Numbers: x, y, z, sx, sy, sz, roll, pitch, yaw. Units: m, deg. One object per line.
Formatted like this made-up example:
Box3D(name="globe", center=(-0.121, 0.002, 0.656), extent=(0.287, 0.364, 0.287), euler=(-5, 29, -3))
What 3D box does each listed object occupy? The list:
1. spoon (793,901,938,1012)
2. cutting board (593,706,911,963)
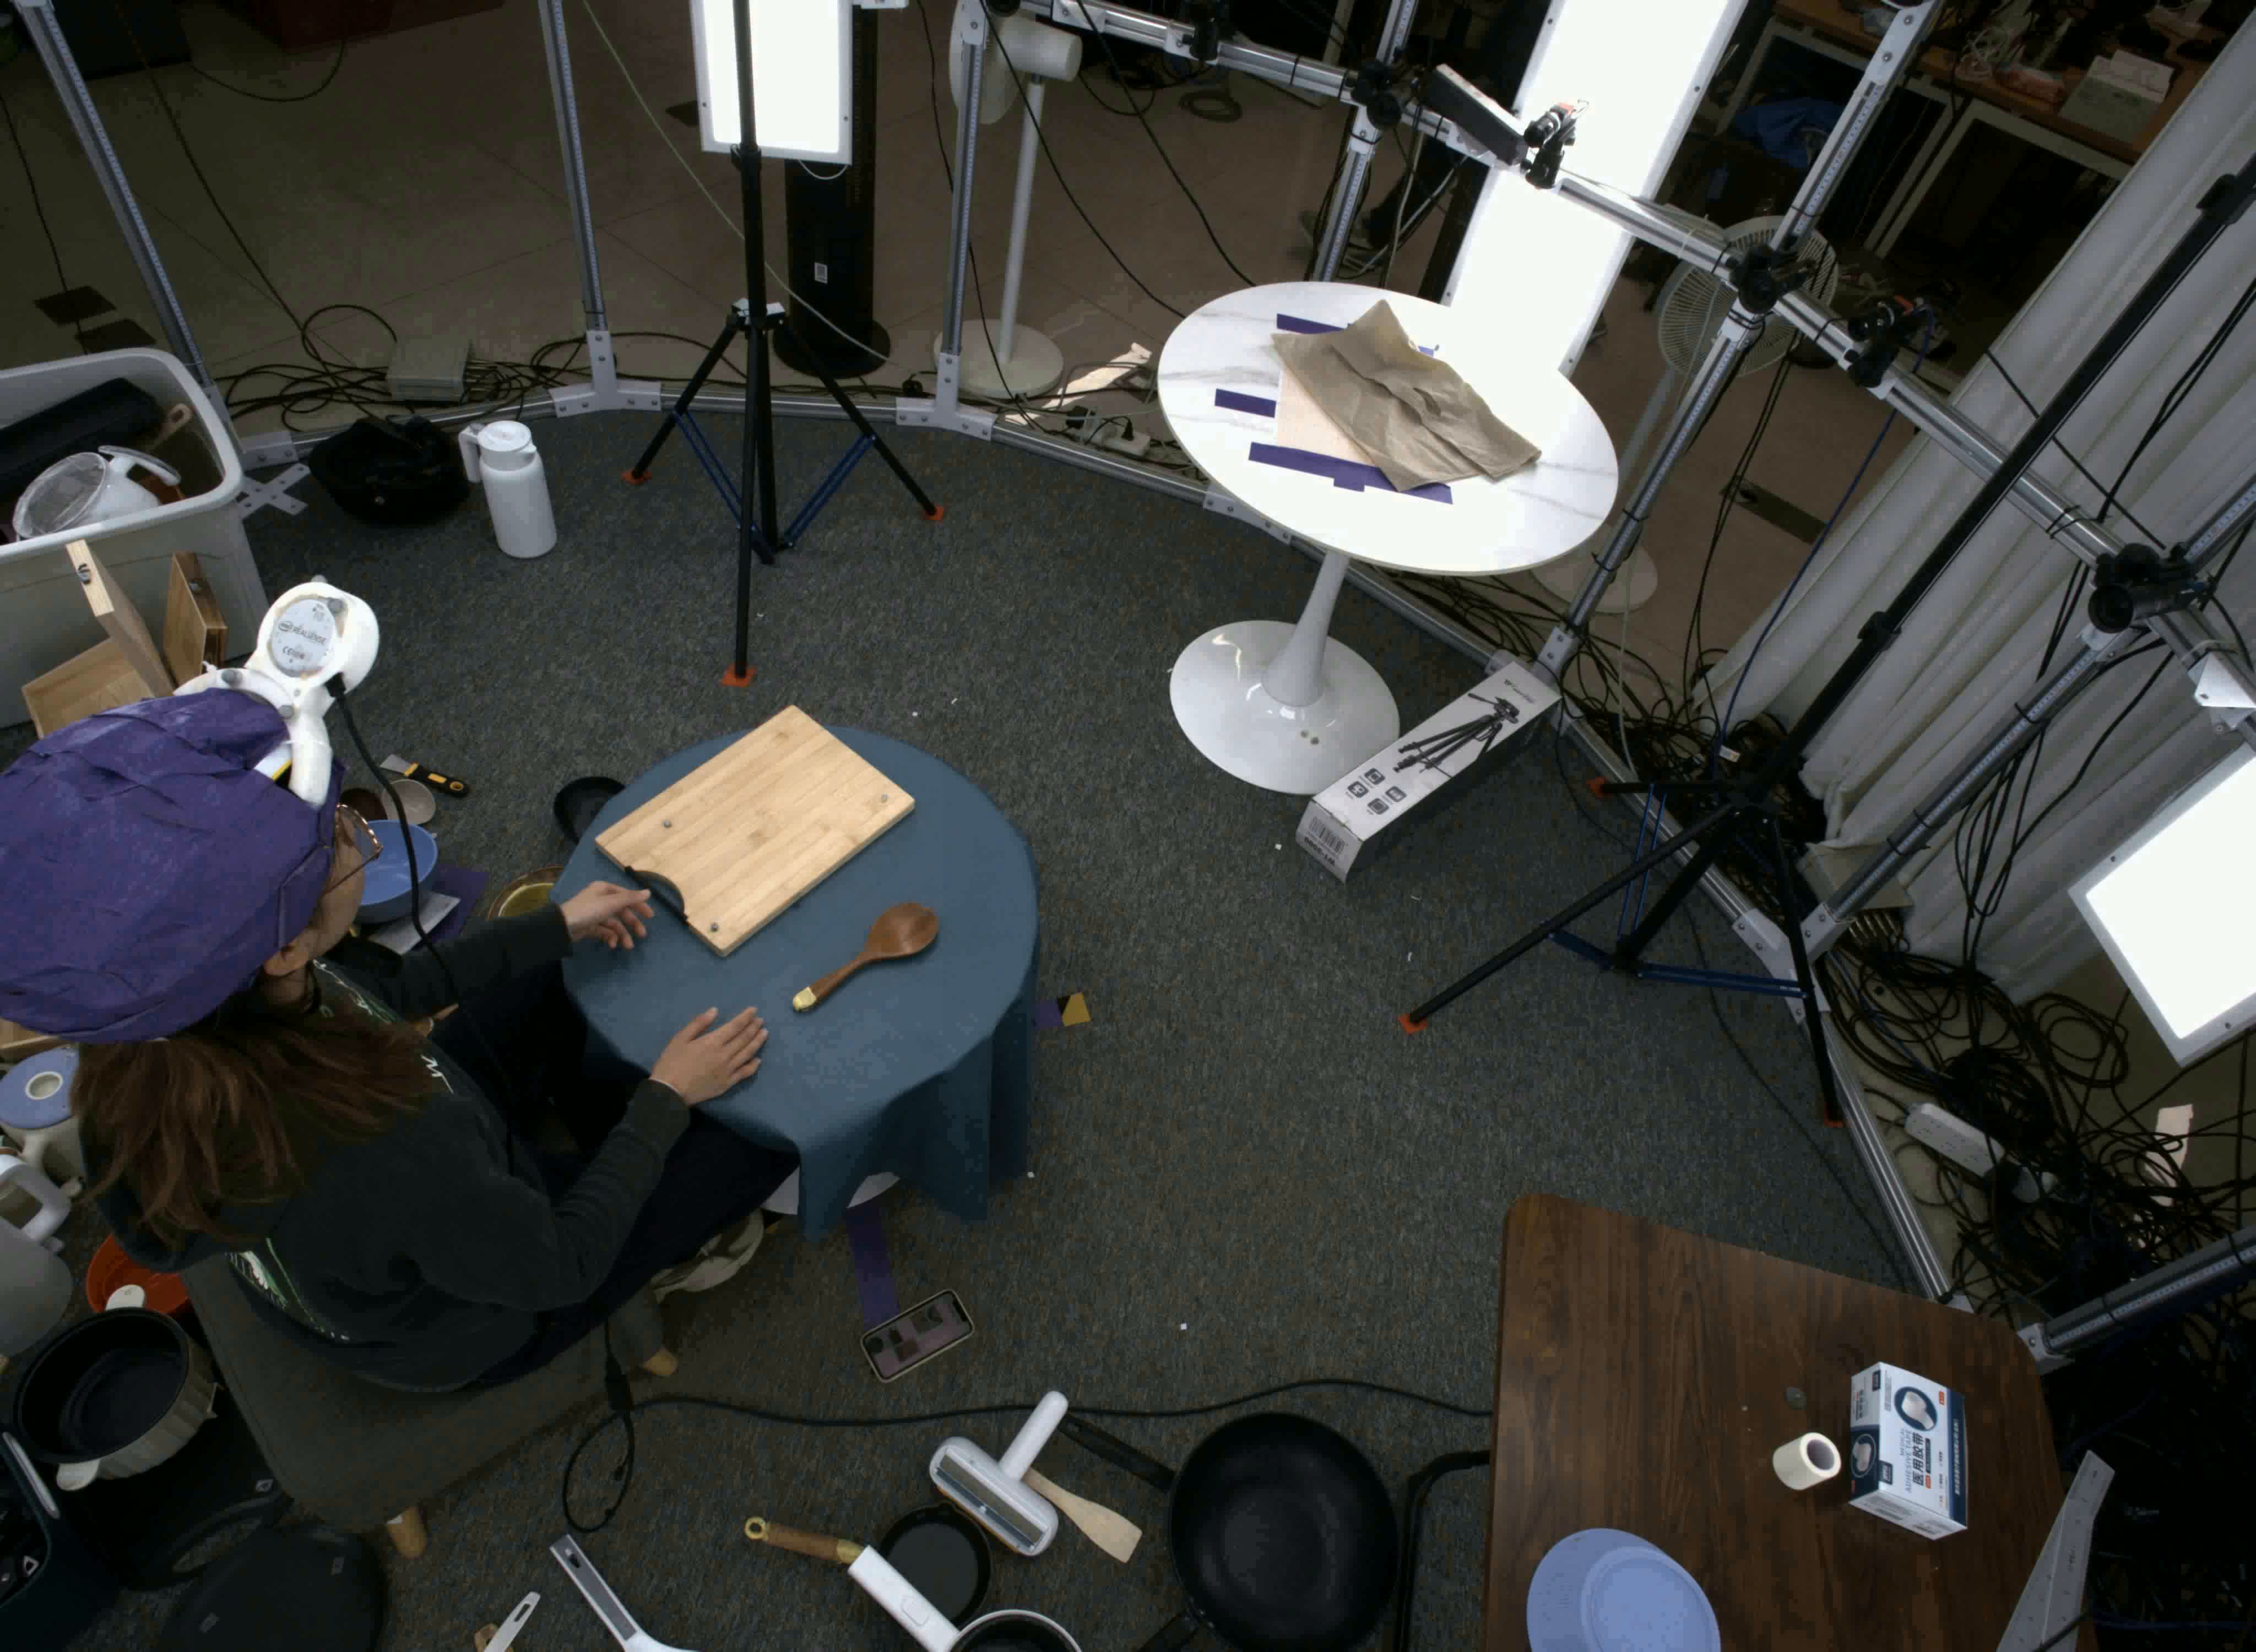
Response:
Box3D(name="spoon", center=(-0.328, 0.162, 1.622), extent=(0.074, 0.017, 0.216), euler=(43, 55, 16))
Box3D(name="cutting board", center=(-0.490, -0.001, 1.703), extent=(0.245, 0.024, 0.348), euler=(36, 54, 14))
